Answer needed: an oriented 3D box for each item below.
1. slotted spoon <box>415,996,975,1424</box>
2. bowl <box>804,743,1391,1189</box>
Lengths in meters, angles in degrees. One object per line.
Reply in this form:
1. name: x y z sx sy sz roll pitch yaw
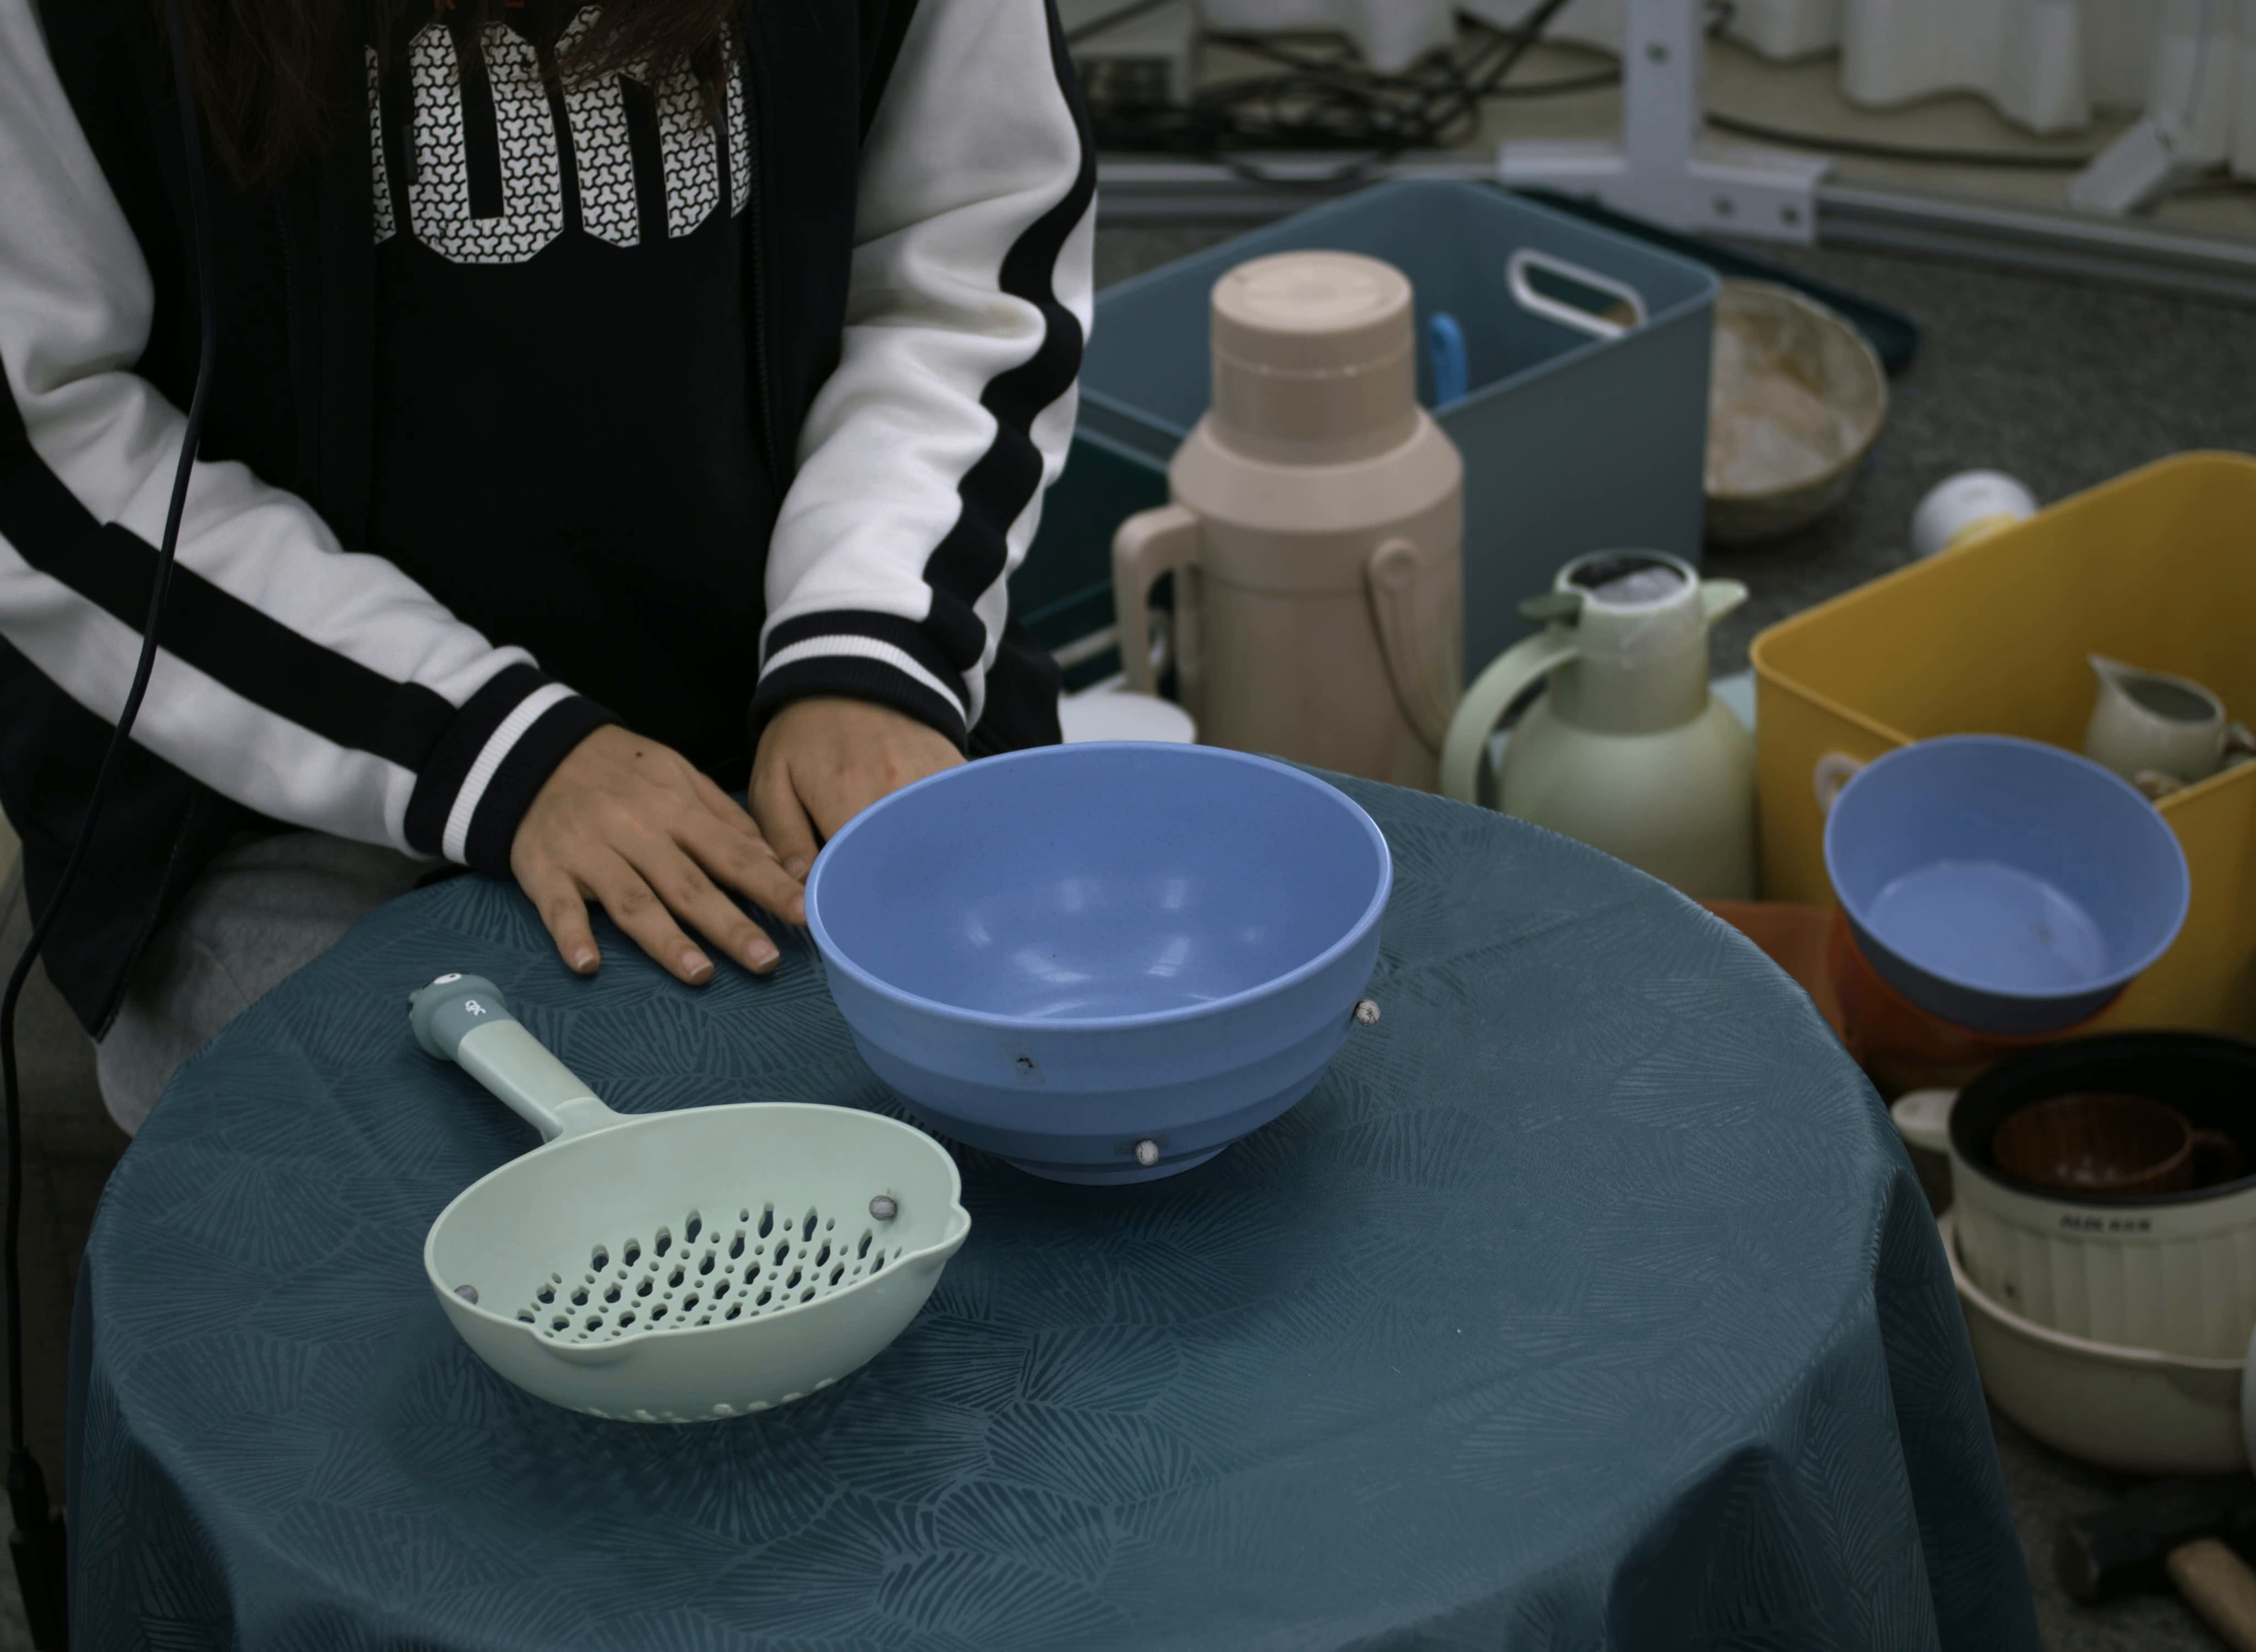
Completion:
1. slotted spoon: -0.174 0.109 1.841 0.170 0.074 0.361 -13 27 -22
2. bowl: -0.008 0.058 1.884 0.195 0.094 0.199 -3 27 2
